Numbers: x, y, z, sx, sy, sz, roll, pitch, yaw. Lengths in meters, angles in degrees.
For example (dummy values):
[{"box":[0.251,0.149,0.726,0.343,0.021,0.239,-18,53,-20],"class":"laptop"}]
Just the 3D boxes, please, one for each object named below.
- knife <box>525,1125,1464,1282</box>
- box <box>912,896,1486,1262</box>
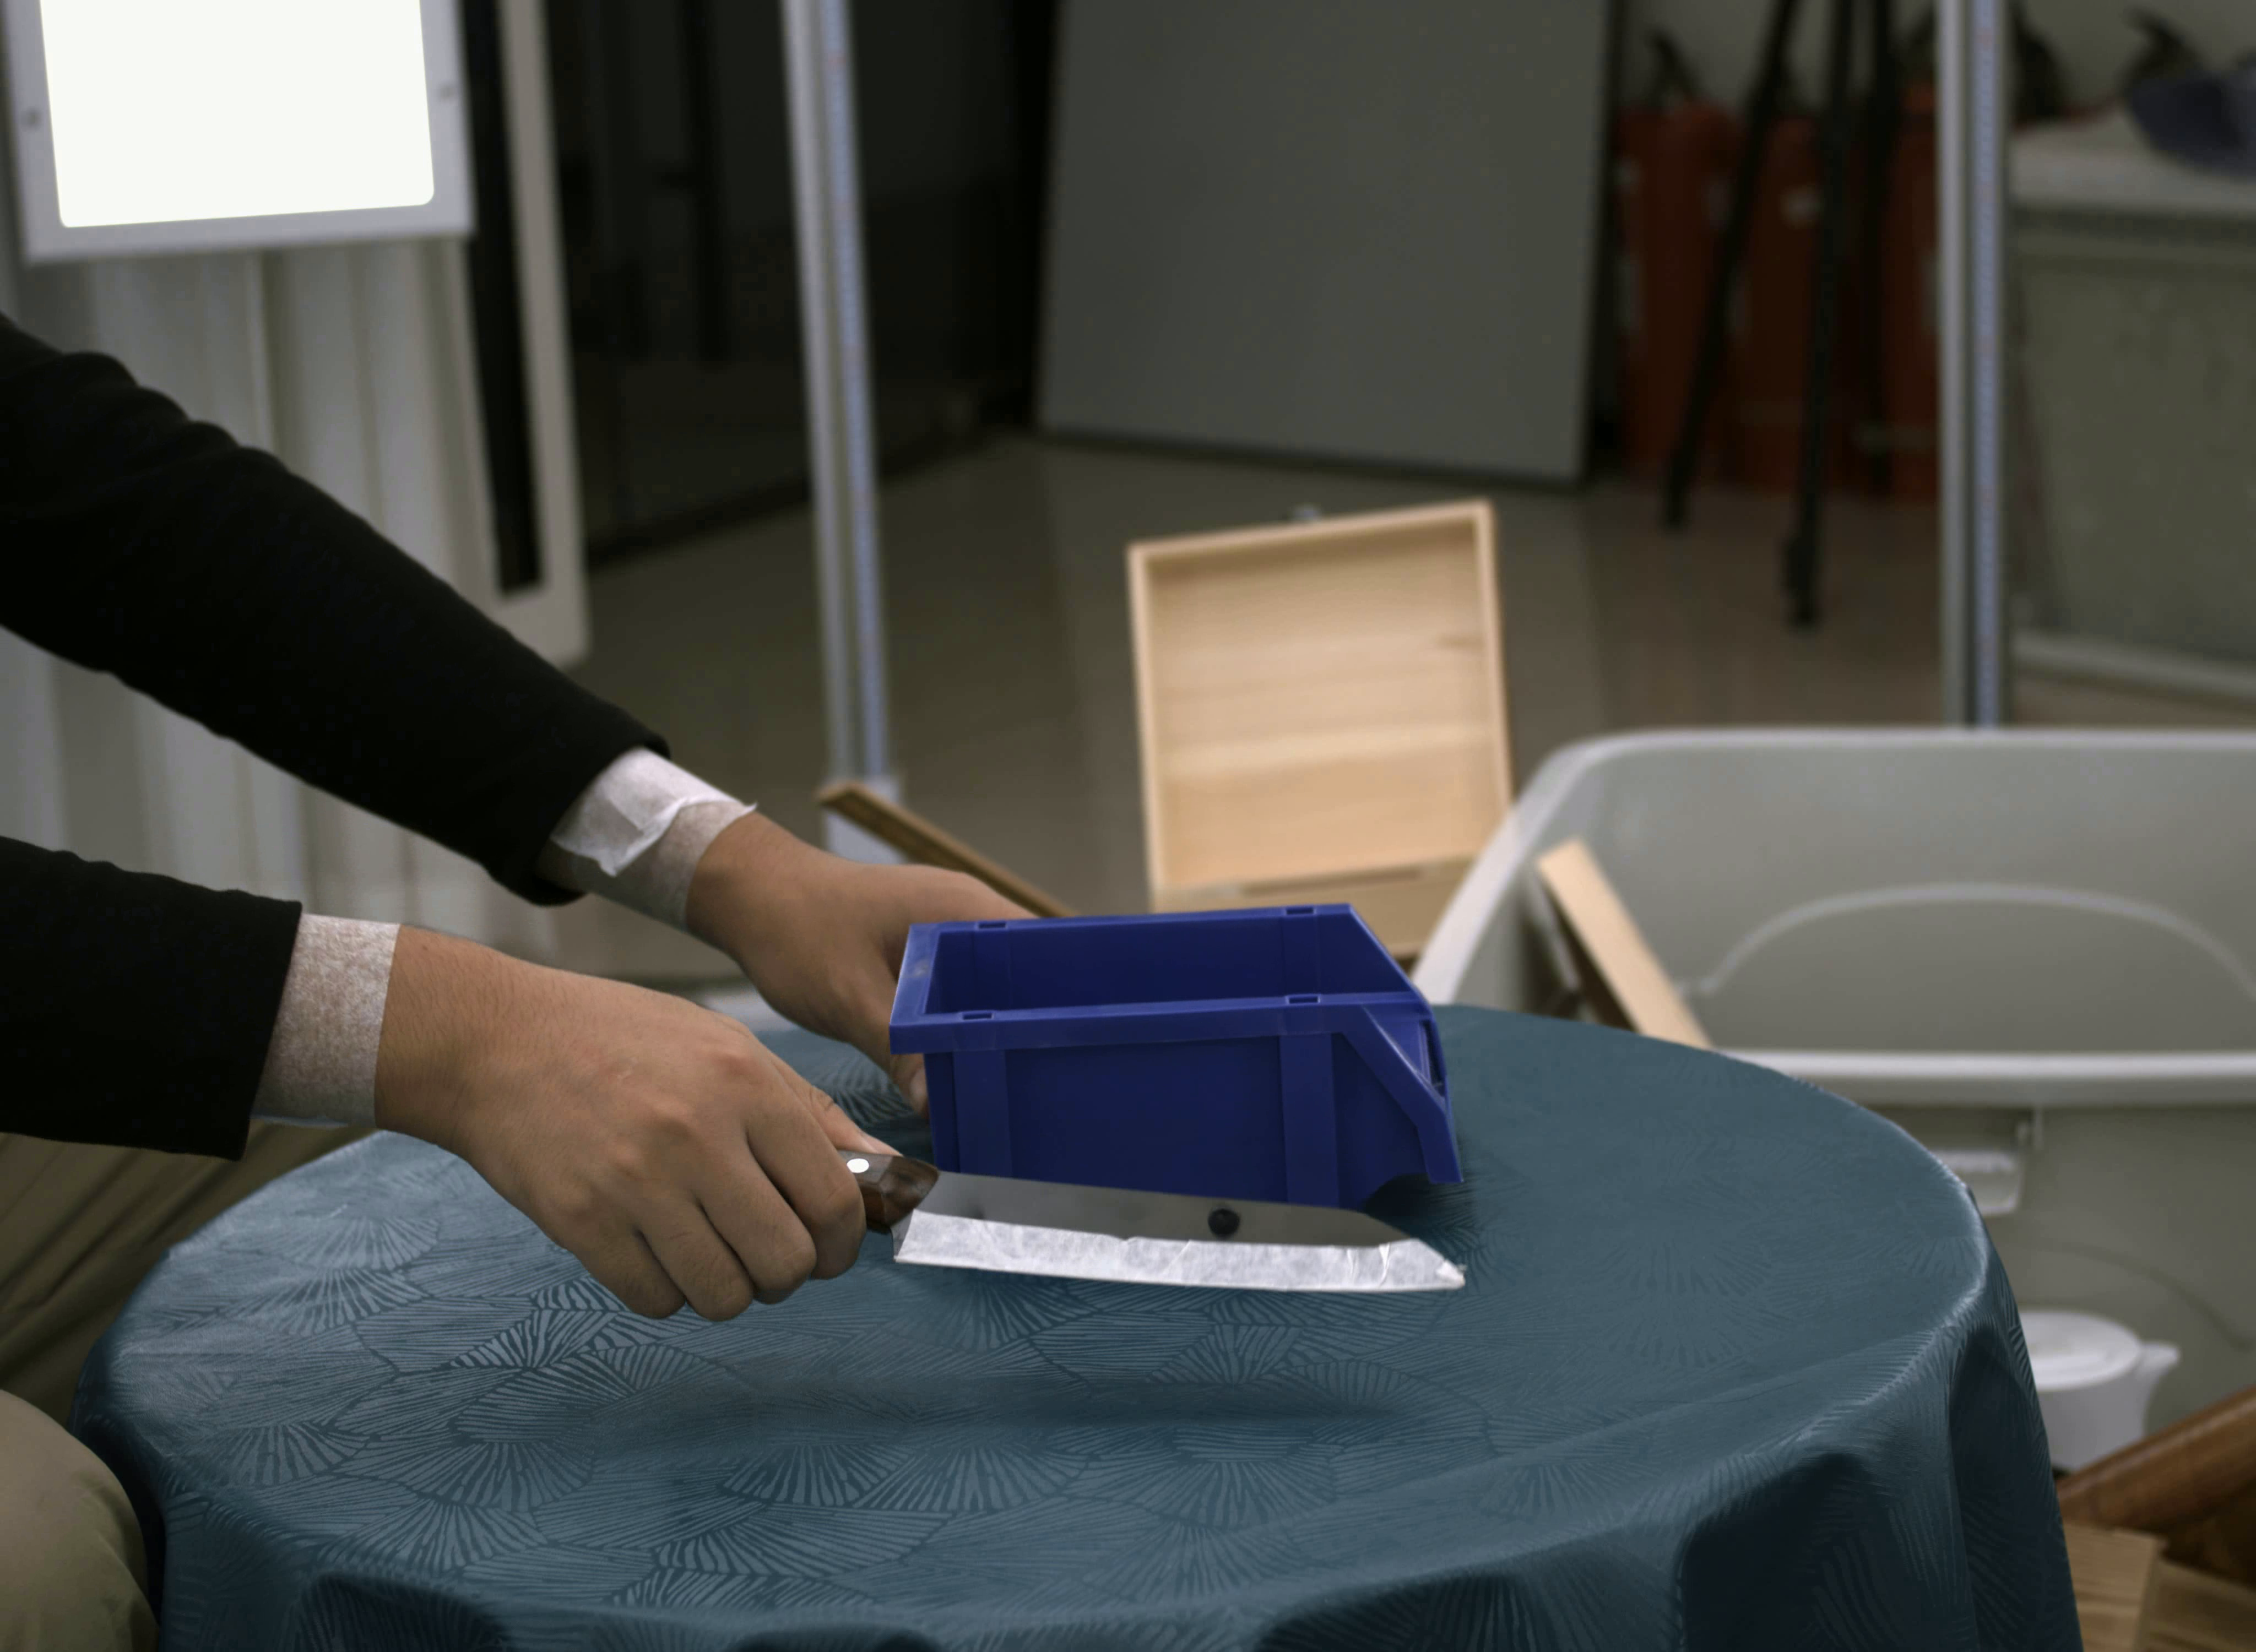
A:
[{"box":[-0.042,0.113,1.584,0.287,0.020,0.050,5,35,13],"class":"knife"},{"box":[0.026,0.080,1.758,0.177,0.083,0.124,-5,13,5],"class":"box"}]
